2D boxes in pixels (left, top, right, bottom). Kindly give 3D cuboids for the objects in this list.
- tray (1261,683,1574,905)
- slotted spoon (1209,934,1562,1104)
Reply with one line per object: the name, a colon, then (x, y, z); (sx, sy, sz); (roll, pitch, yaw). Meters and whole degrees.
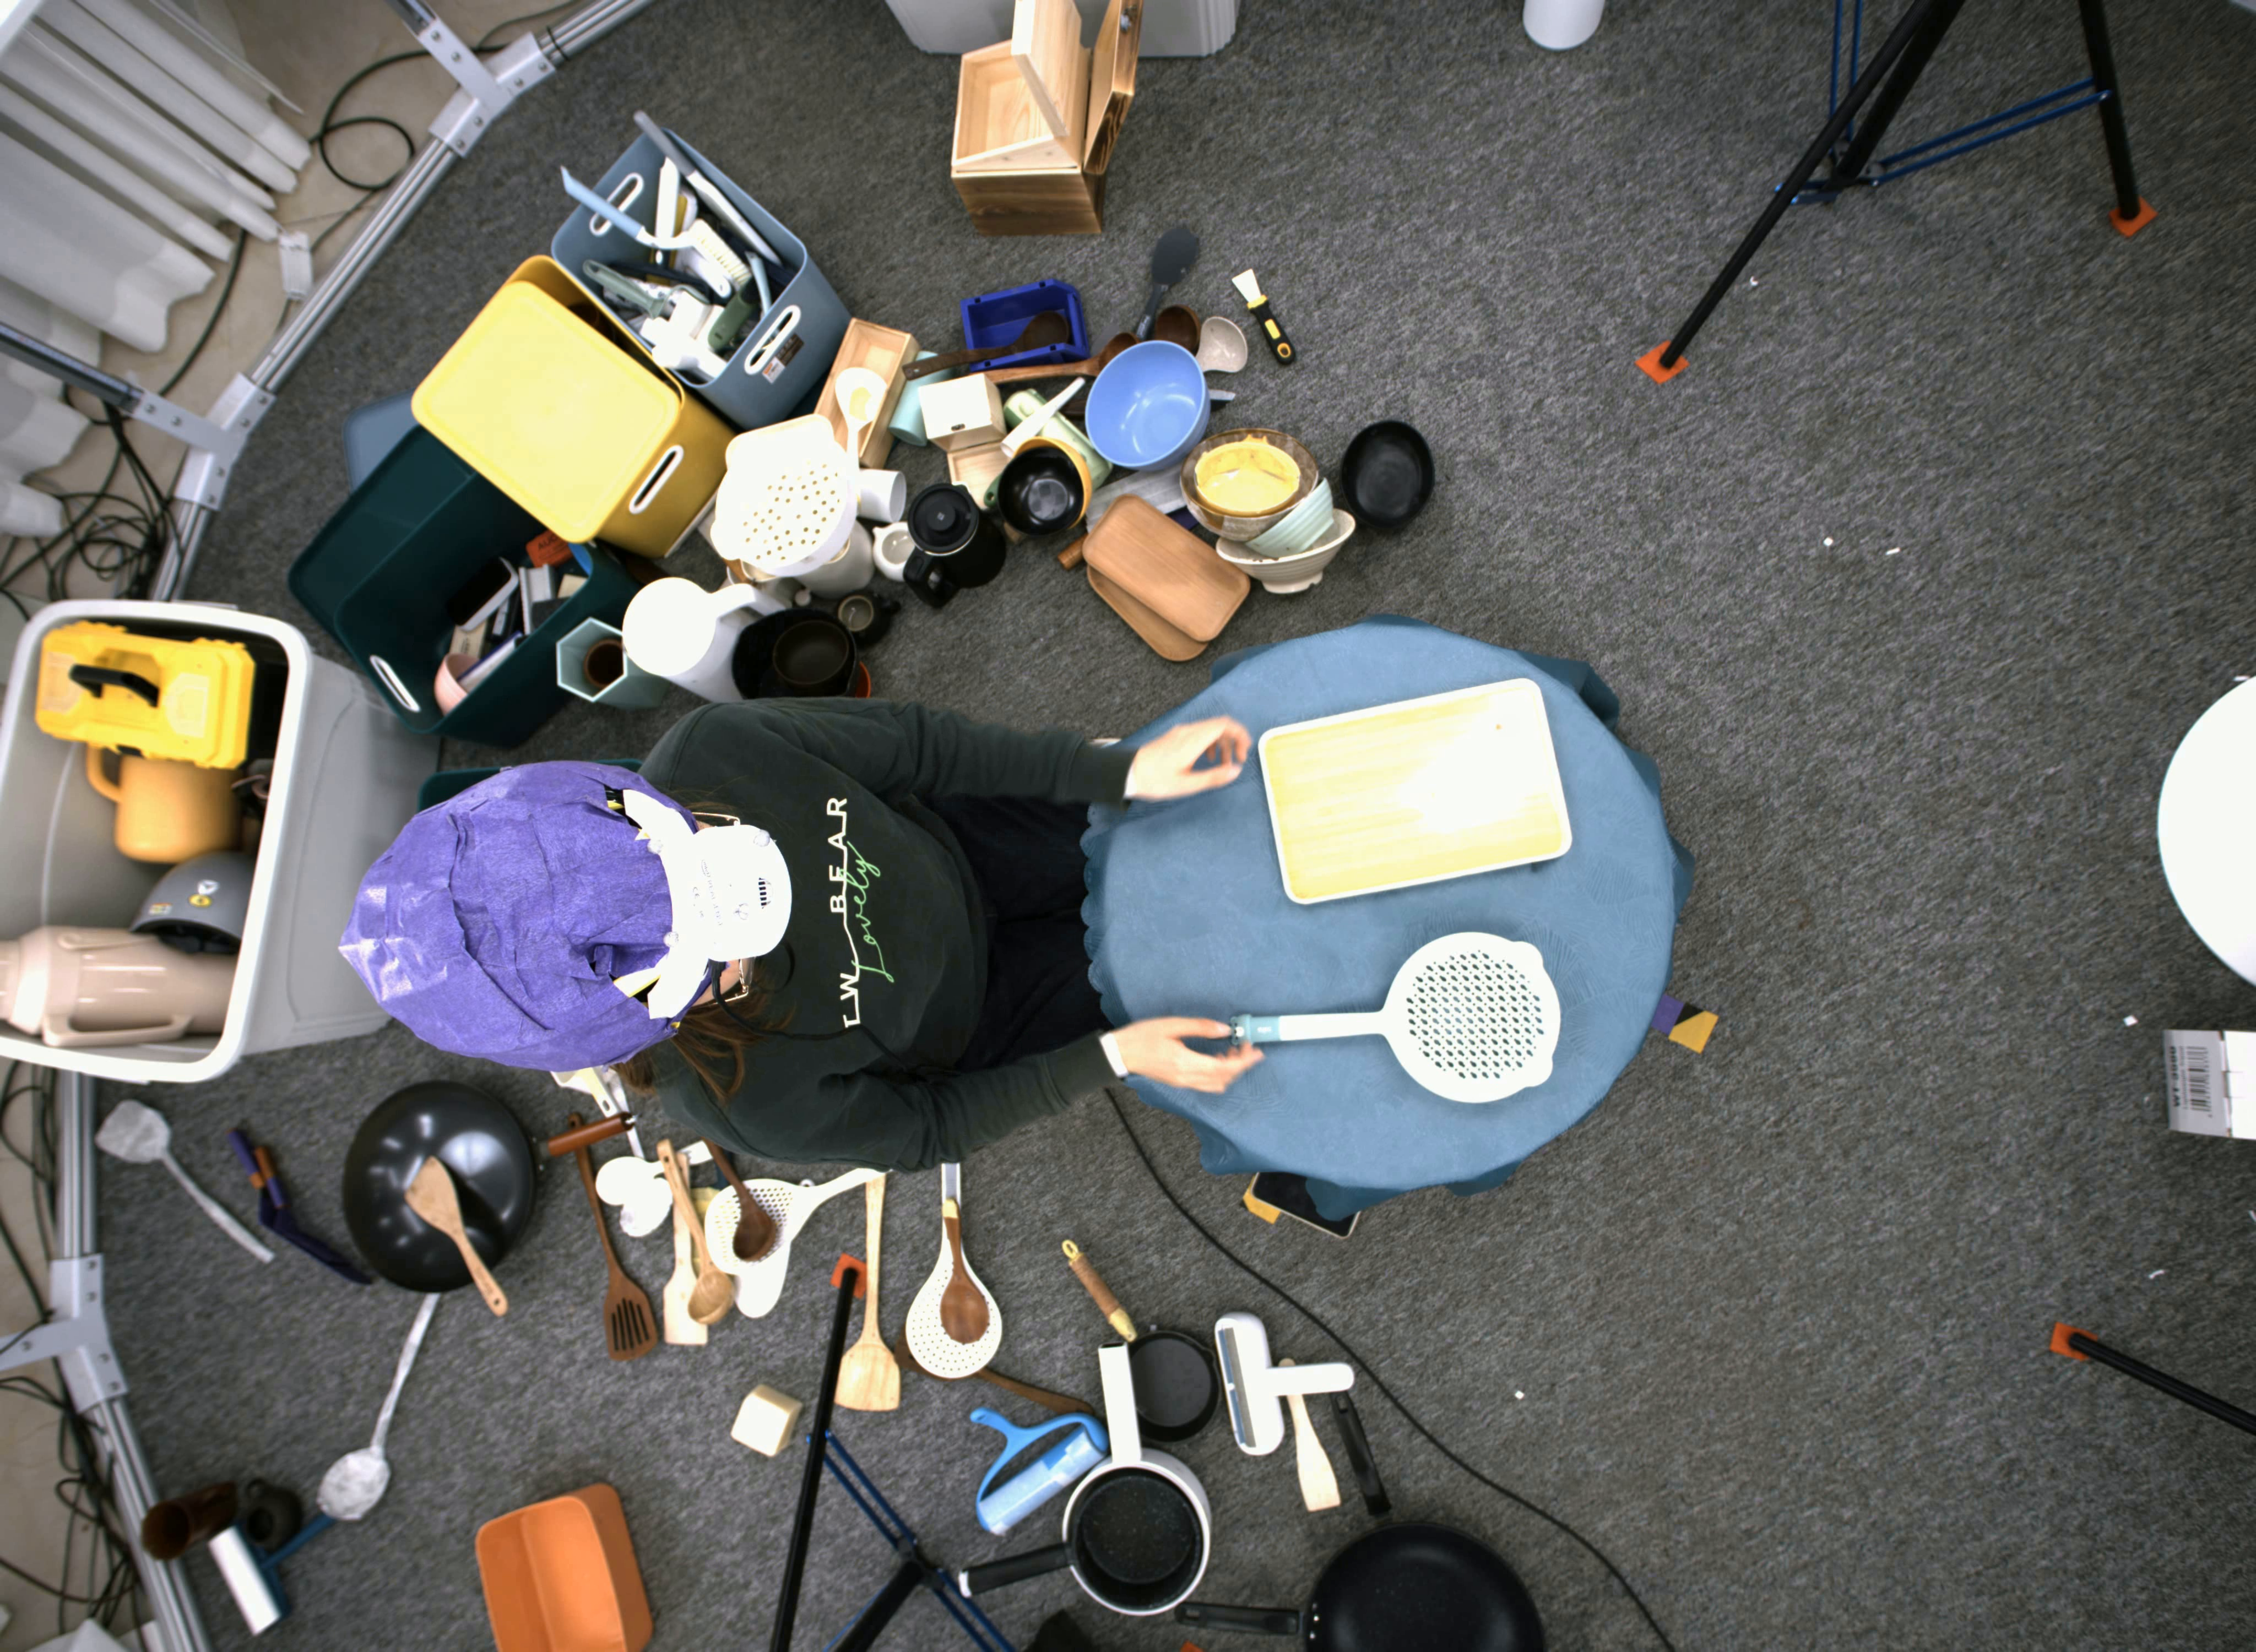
tray: (0.302, -0.034, 1.453); (0.302, 0.027, 0.190); (-11, 84, 9)
slotted spoon: (0.258, 0.202, 1.425); (0.360, 0.075, 0.168); (-5, 84, 10)
